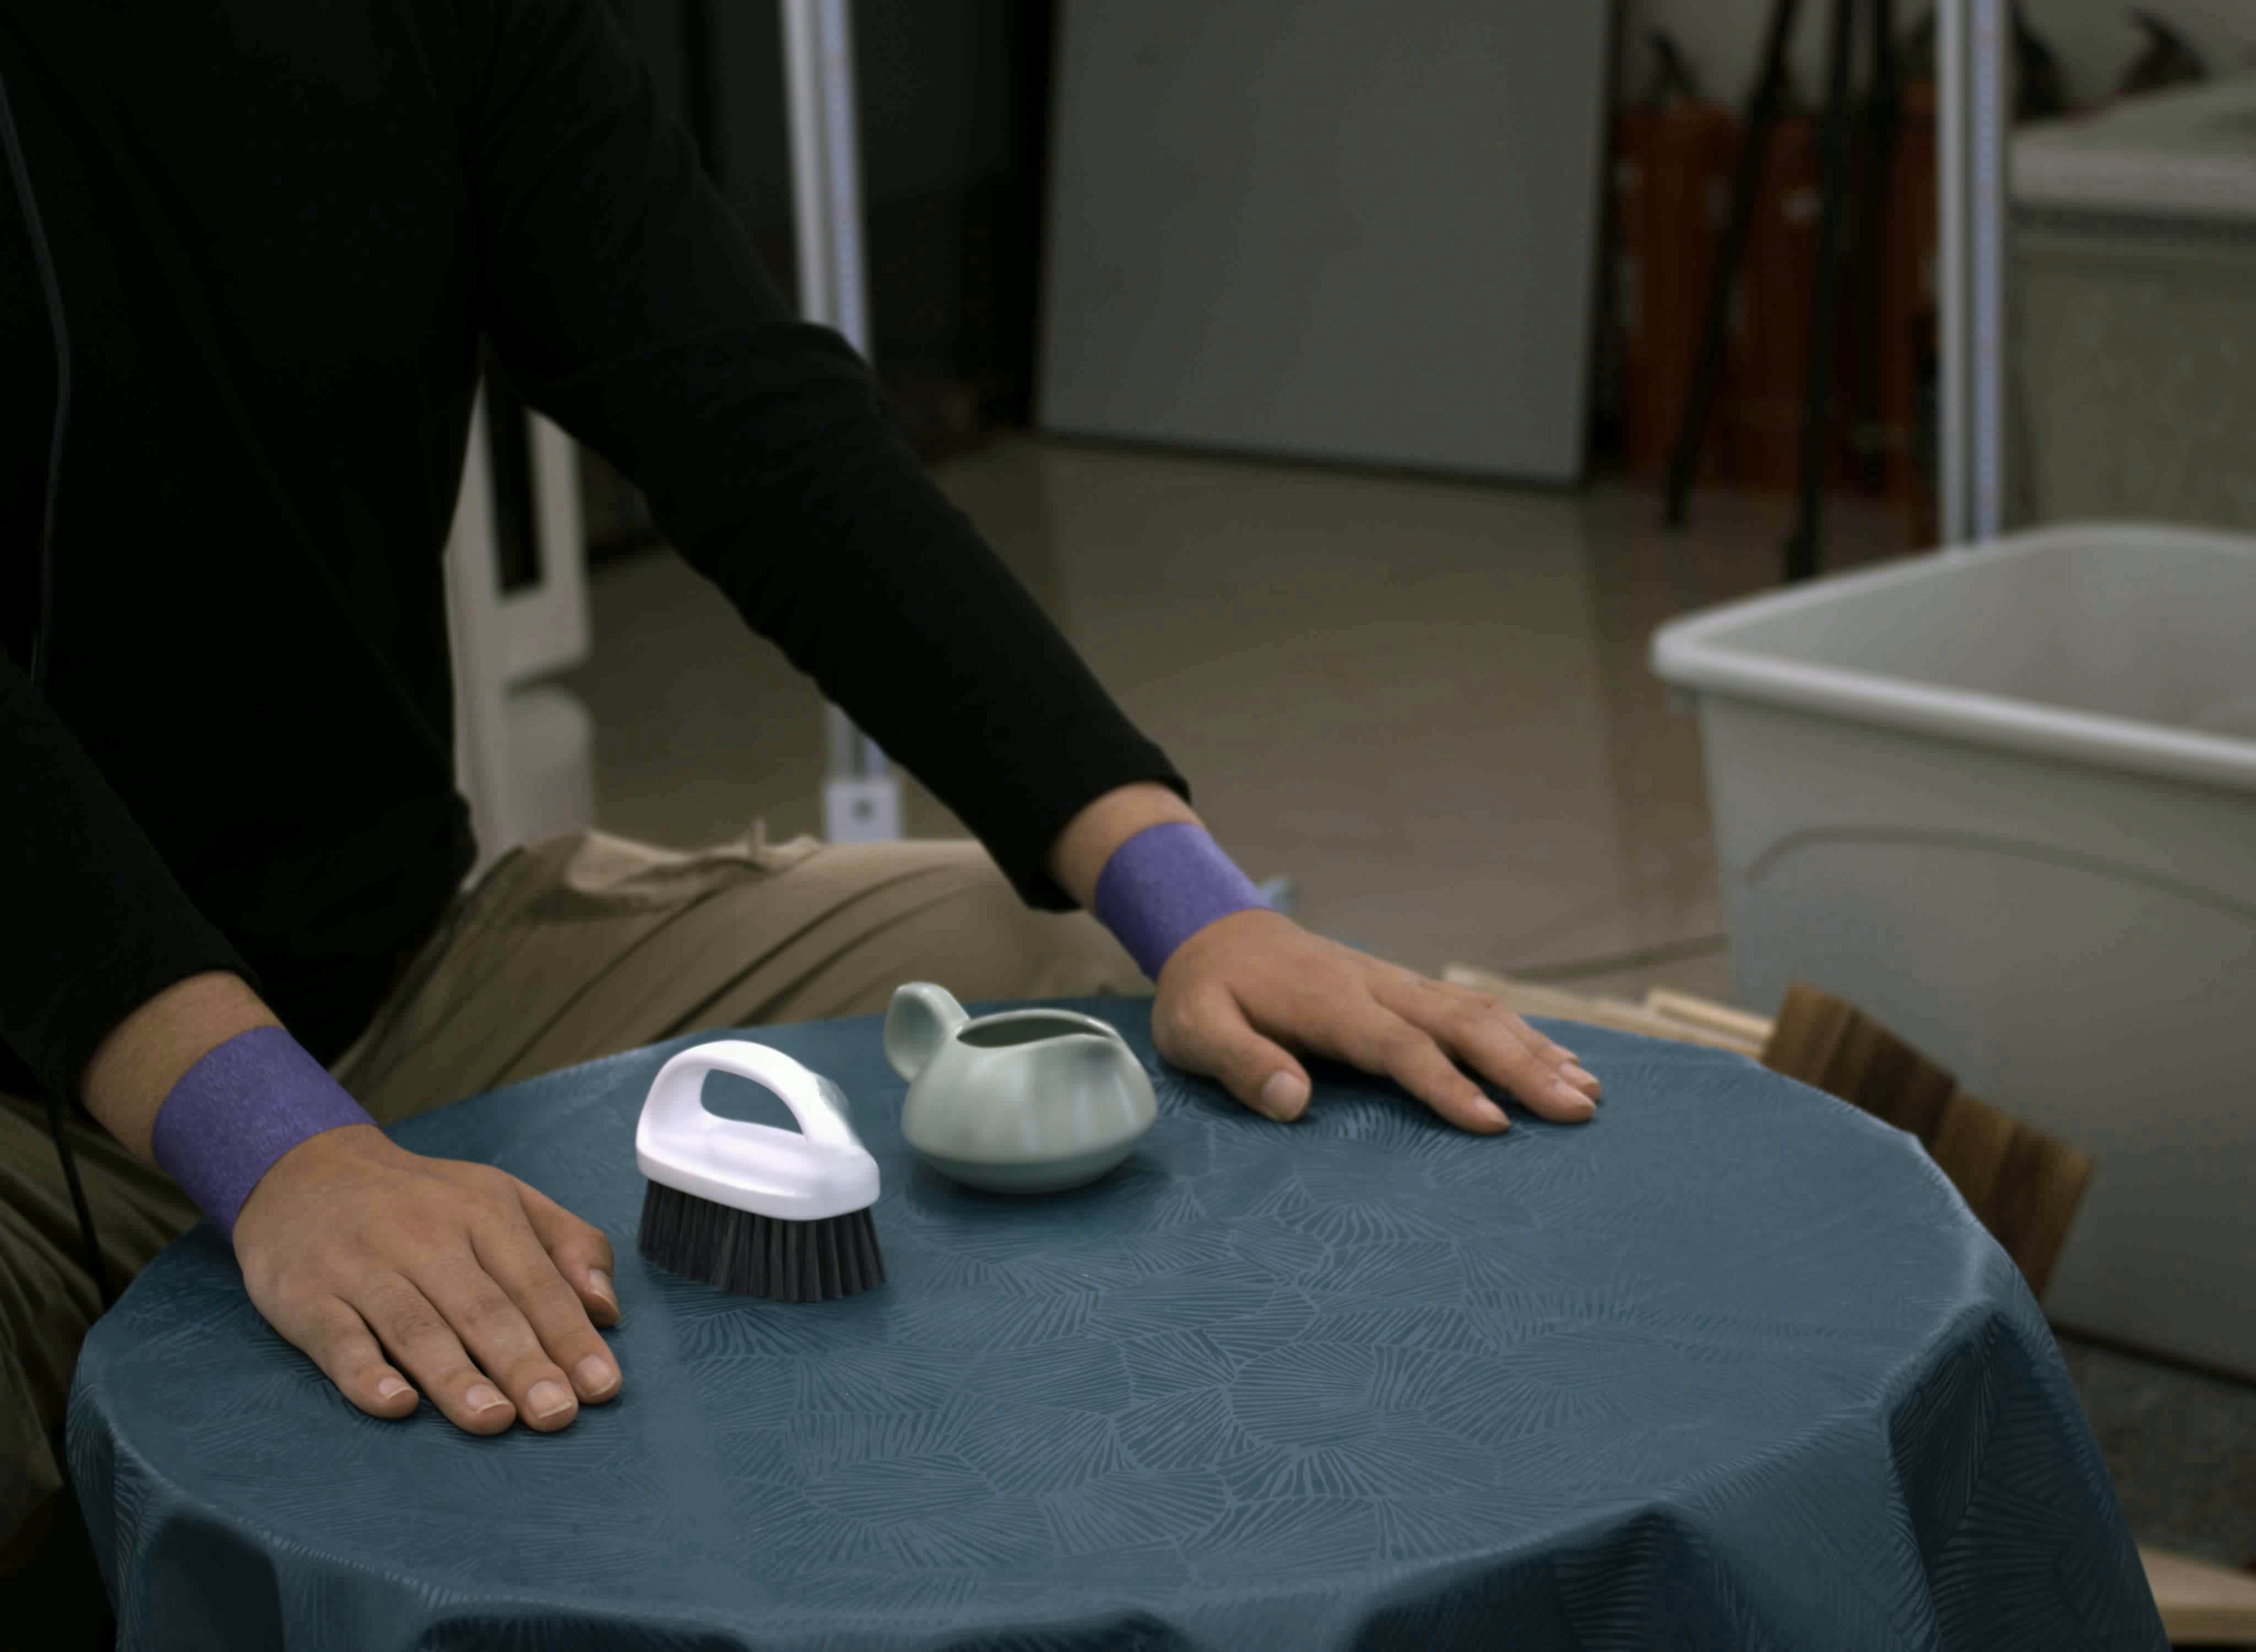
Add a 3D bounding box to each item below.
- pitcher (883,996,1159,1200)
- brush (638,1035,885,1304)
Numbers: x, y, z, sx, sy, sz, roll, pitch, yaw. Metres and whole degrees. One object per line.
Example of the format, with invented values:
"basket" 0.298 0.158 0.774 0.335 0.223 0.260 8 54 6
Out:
"pitcher" -0.041 0.089 1.795 0.109 0.061 0.084 4 15 42
"brush" -0.118 0.104 1.714 0.049 0.073 0.100 -13 17 -37
